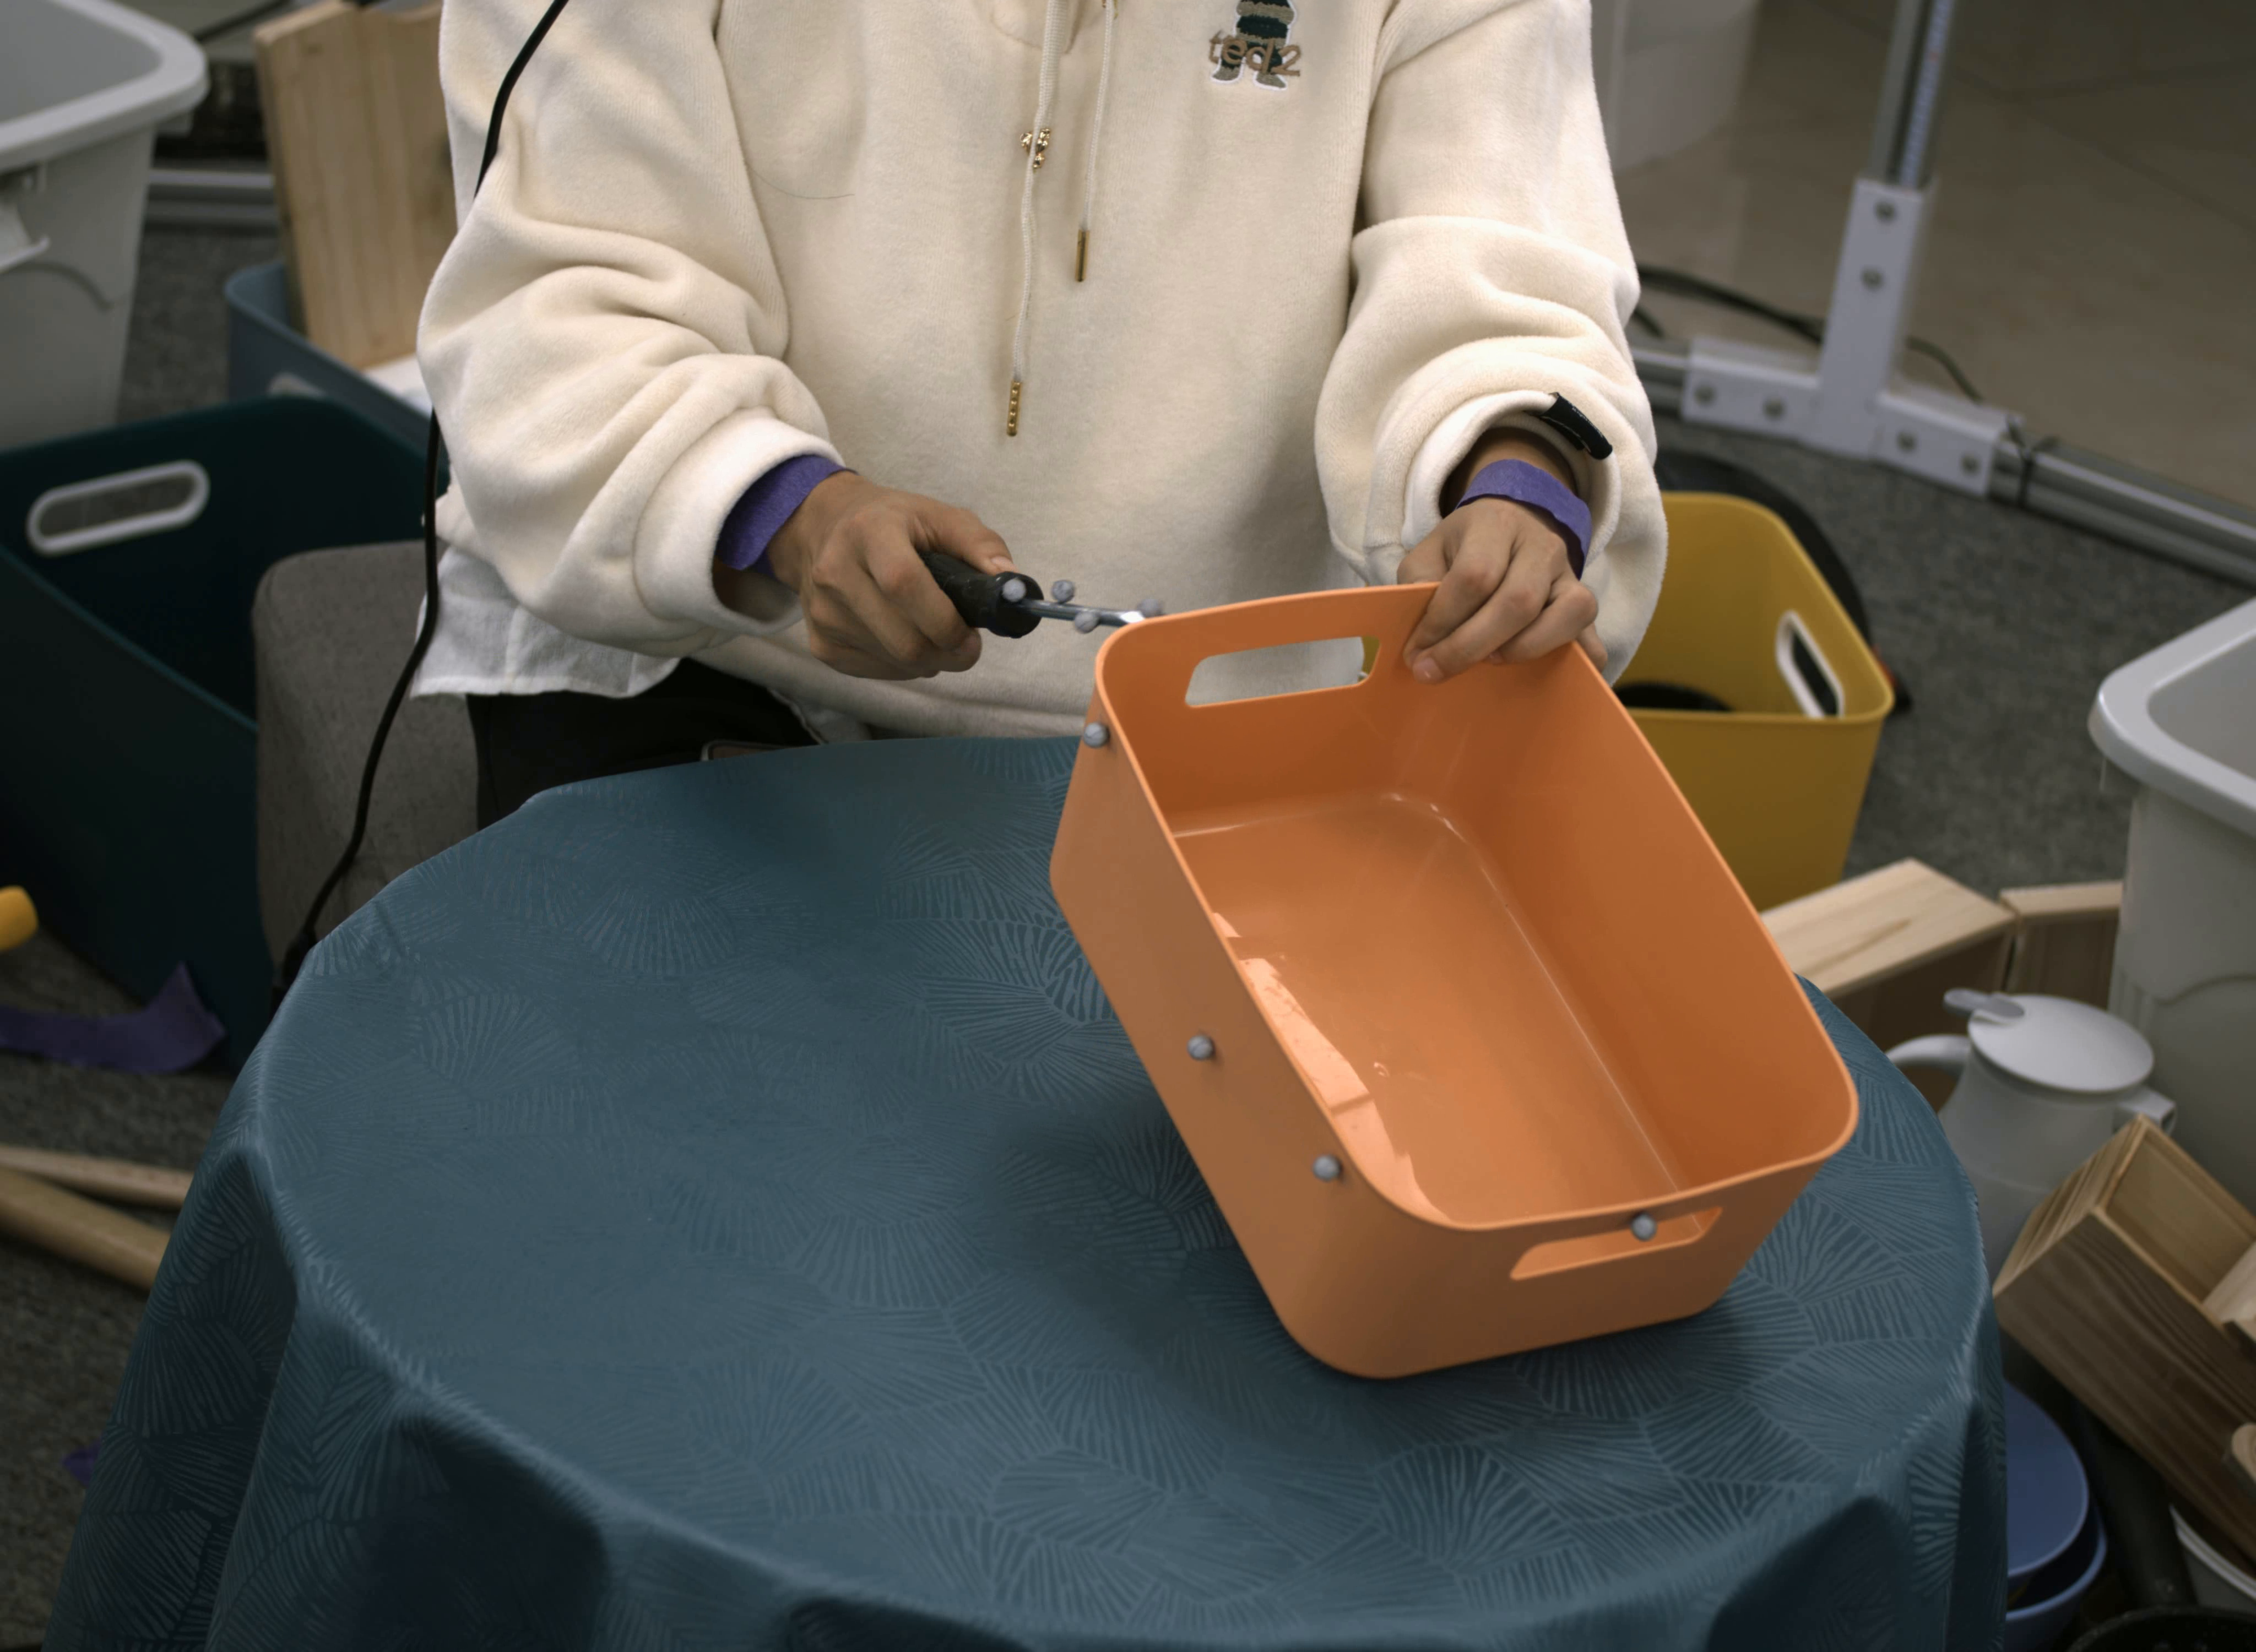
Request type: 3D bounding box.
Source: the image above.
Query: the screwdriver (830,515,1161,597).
[{"bbox_3d":[-0.045,-0.094,1.918,0.031,0.031,0.199,-15,15,-37],"label":"screwdriver"}]

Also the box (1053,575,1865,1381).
[{"bbox_3d":[0.101,0.051,1.774,0.198,0.102,0.276,-9,51,-27],"label":"box"}]
